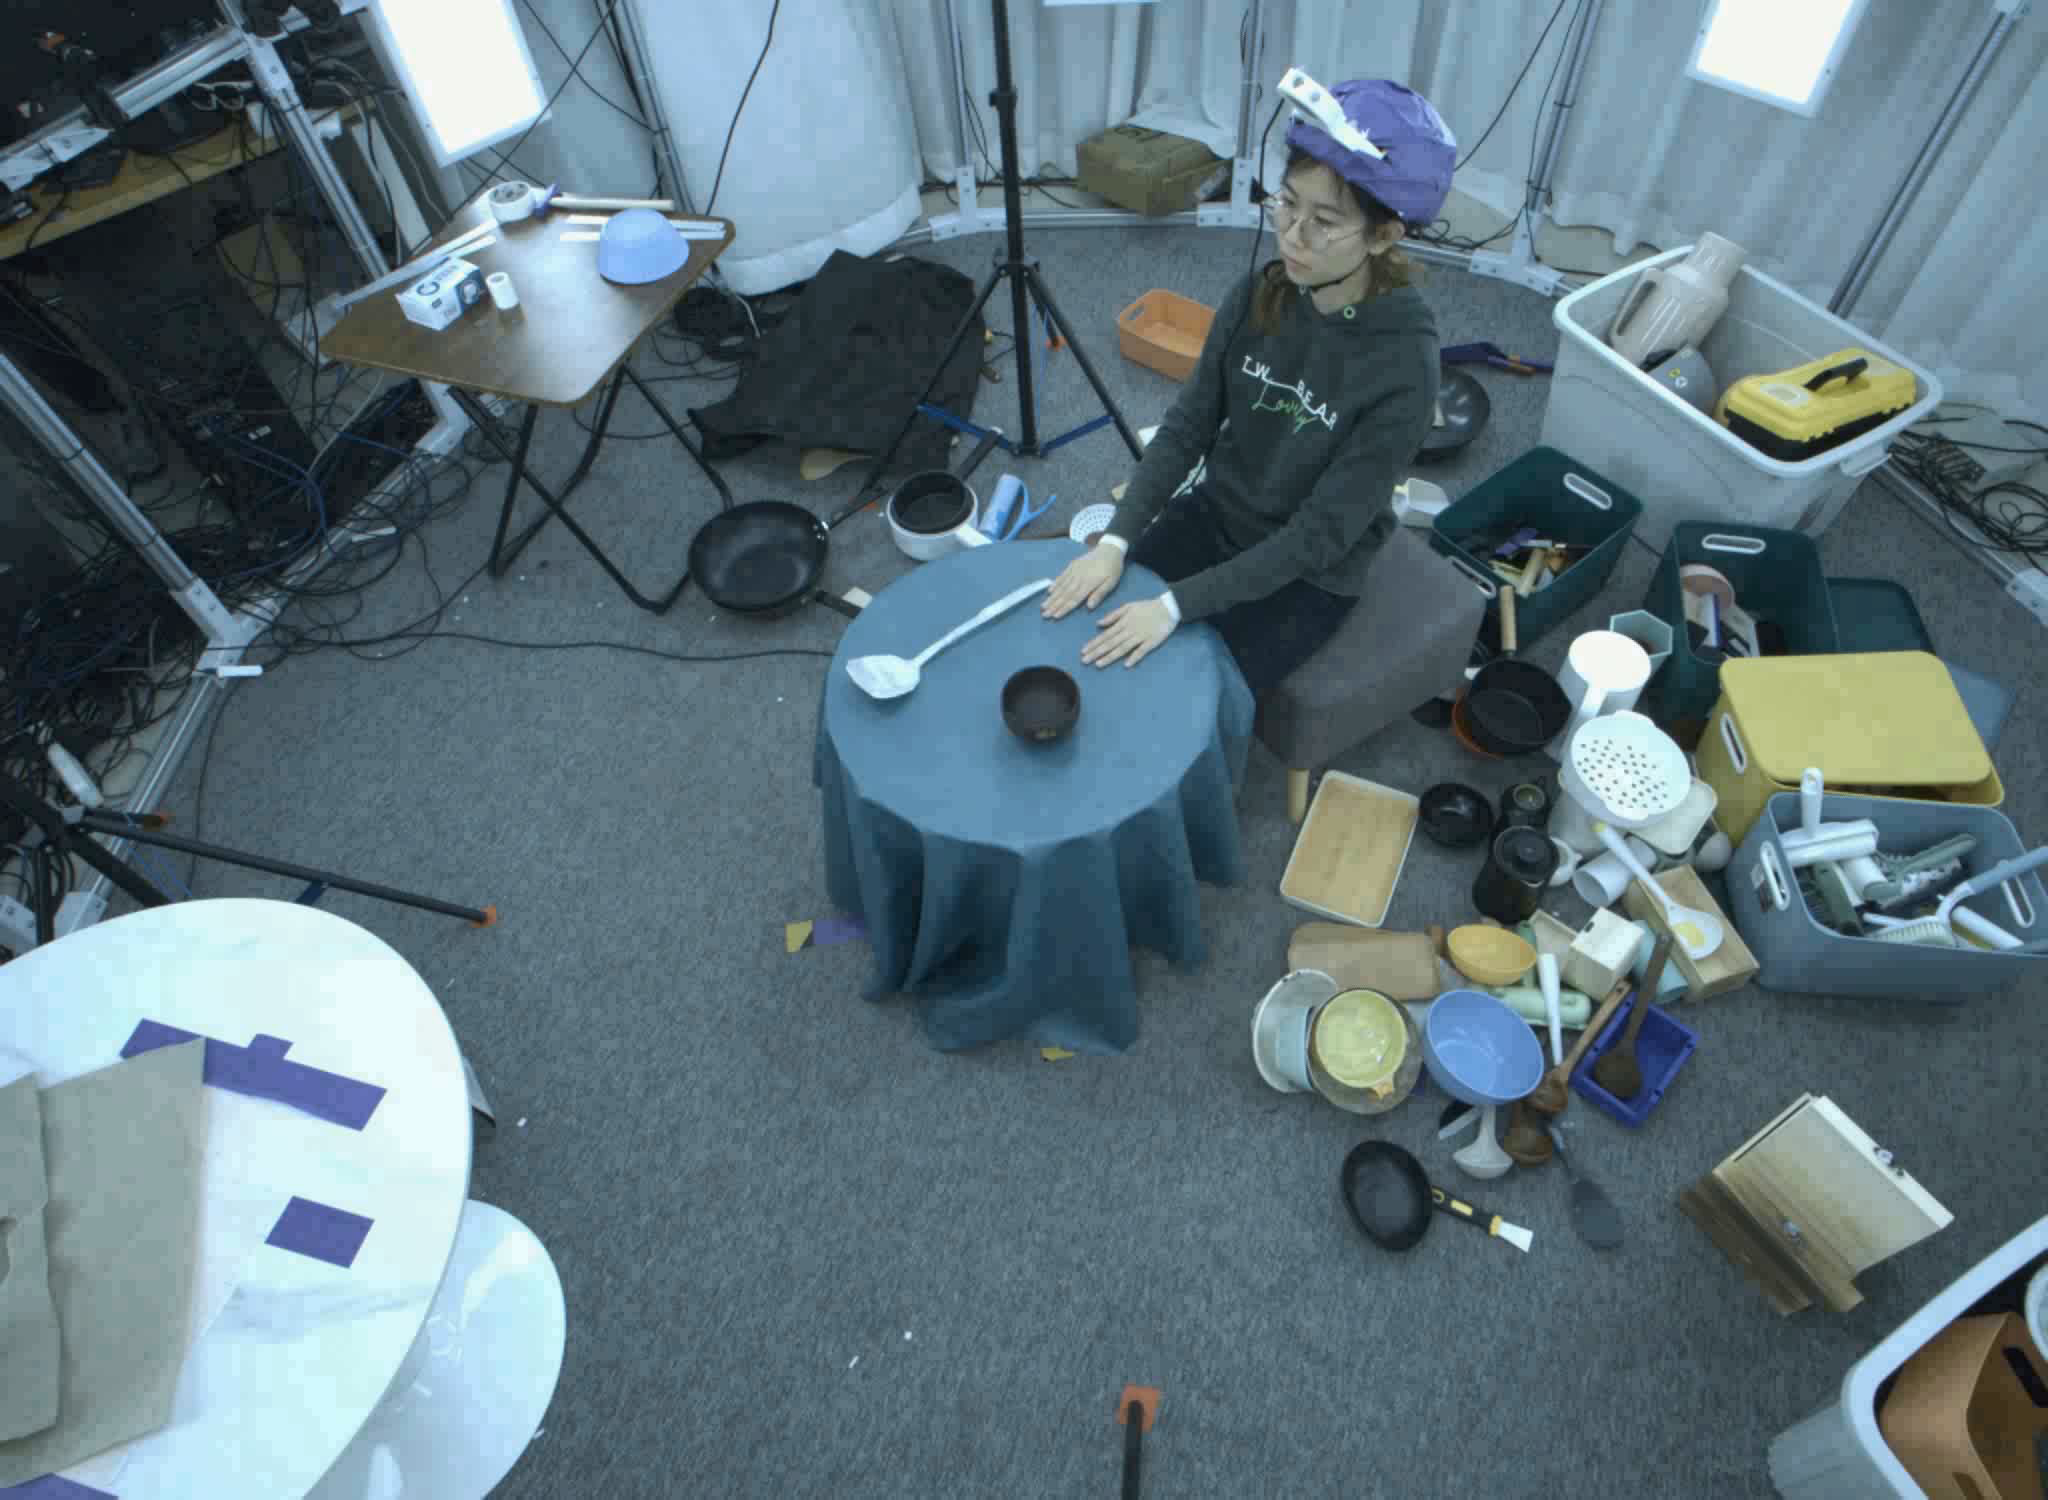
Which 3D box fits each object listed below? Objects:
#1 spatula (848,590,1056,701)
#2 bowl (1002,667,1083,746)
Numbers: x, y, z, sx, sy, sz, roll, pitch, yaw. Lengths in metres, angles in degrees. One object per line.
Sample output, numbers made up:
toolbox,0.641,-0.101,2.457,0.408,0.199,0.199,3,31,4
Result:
spatula,-0.102,-0.176,1.901,0.368,0.045,0.097,-33,58,-19
bowl,0.027,-0.055,1.792,0.118,0.070,0.117,0,55,1
